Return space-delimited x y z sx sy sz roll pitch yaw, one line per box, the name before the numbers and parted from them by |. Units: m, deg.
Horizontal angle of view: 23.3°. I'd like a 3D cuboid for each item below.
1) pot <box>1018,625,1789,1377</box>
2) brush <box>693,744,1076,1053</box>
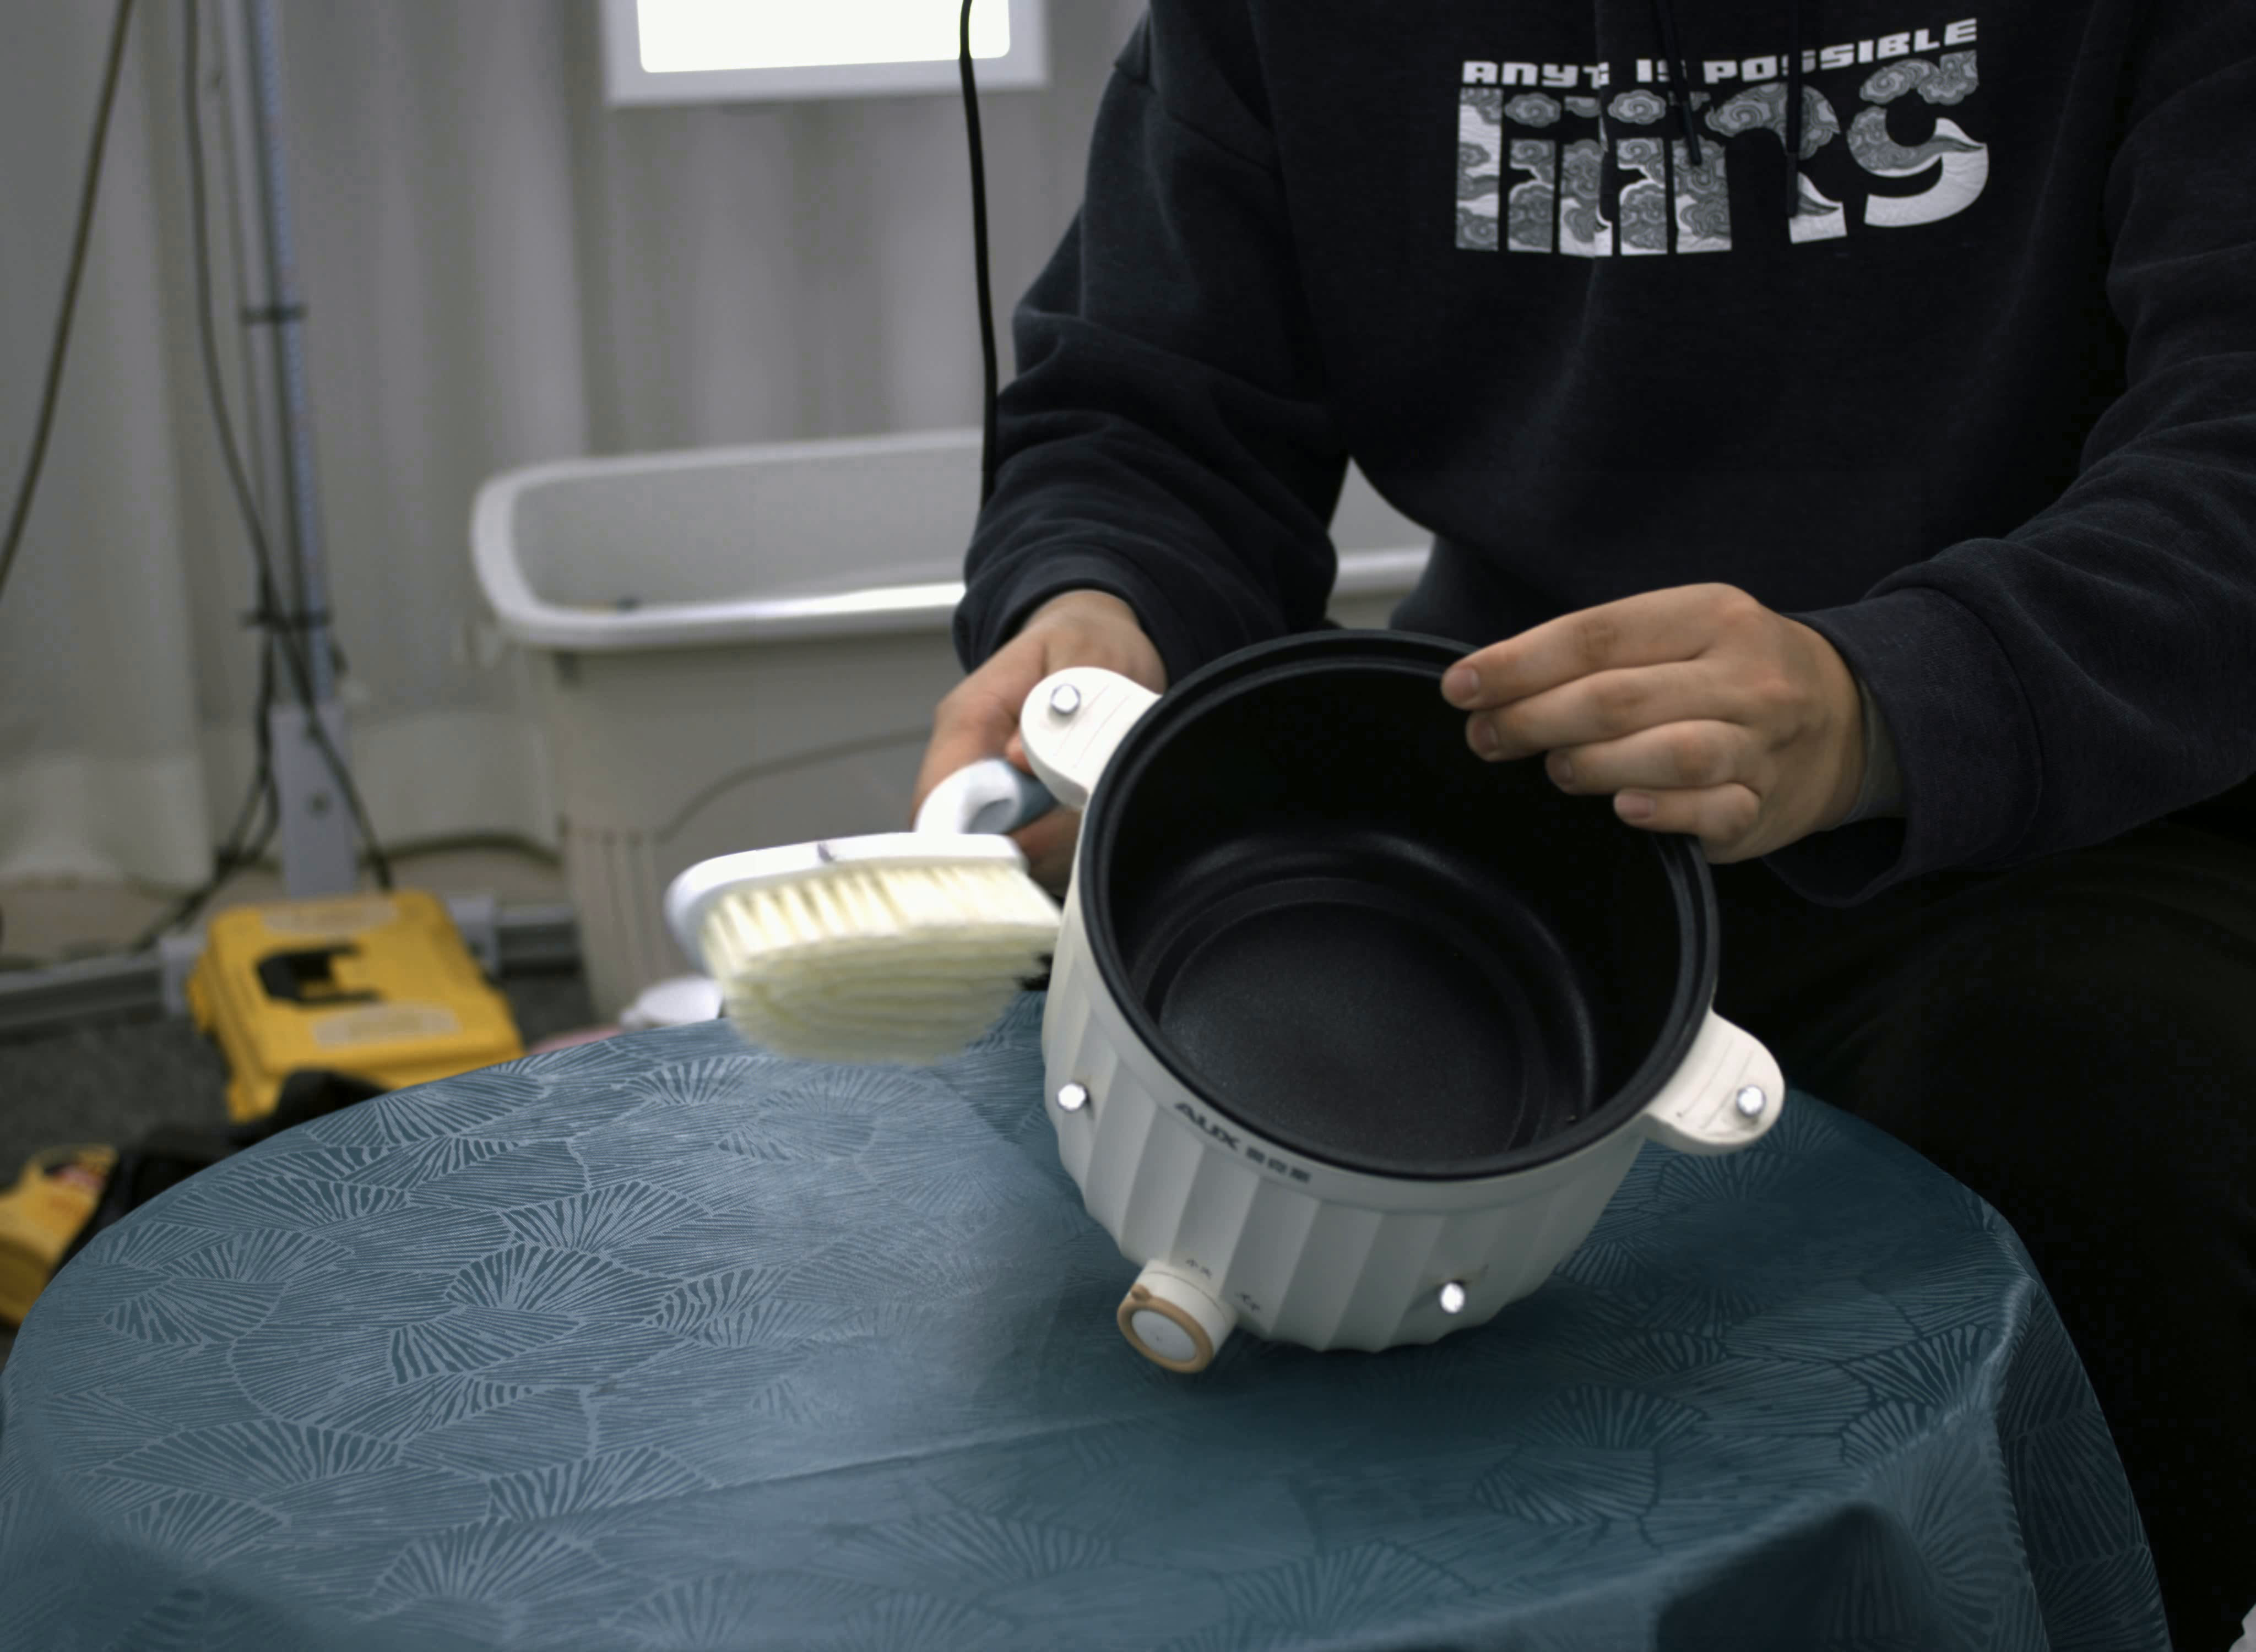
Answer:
pot | 0.064 0.059 1.564 0.241 0.141 0.192 28 52 12
brush | -0.022 0.018 1.711 0.083 0.085 0.325 -8 3 29
